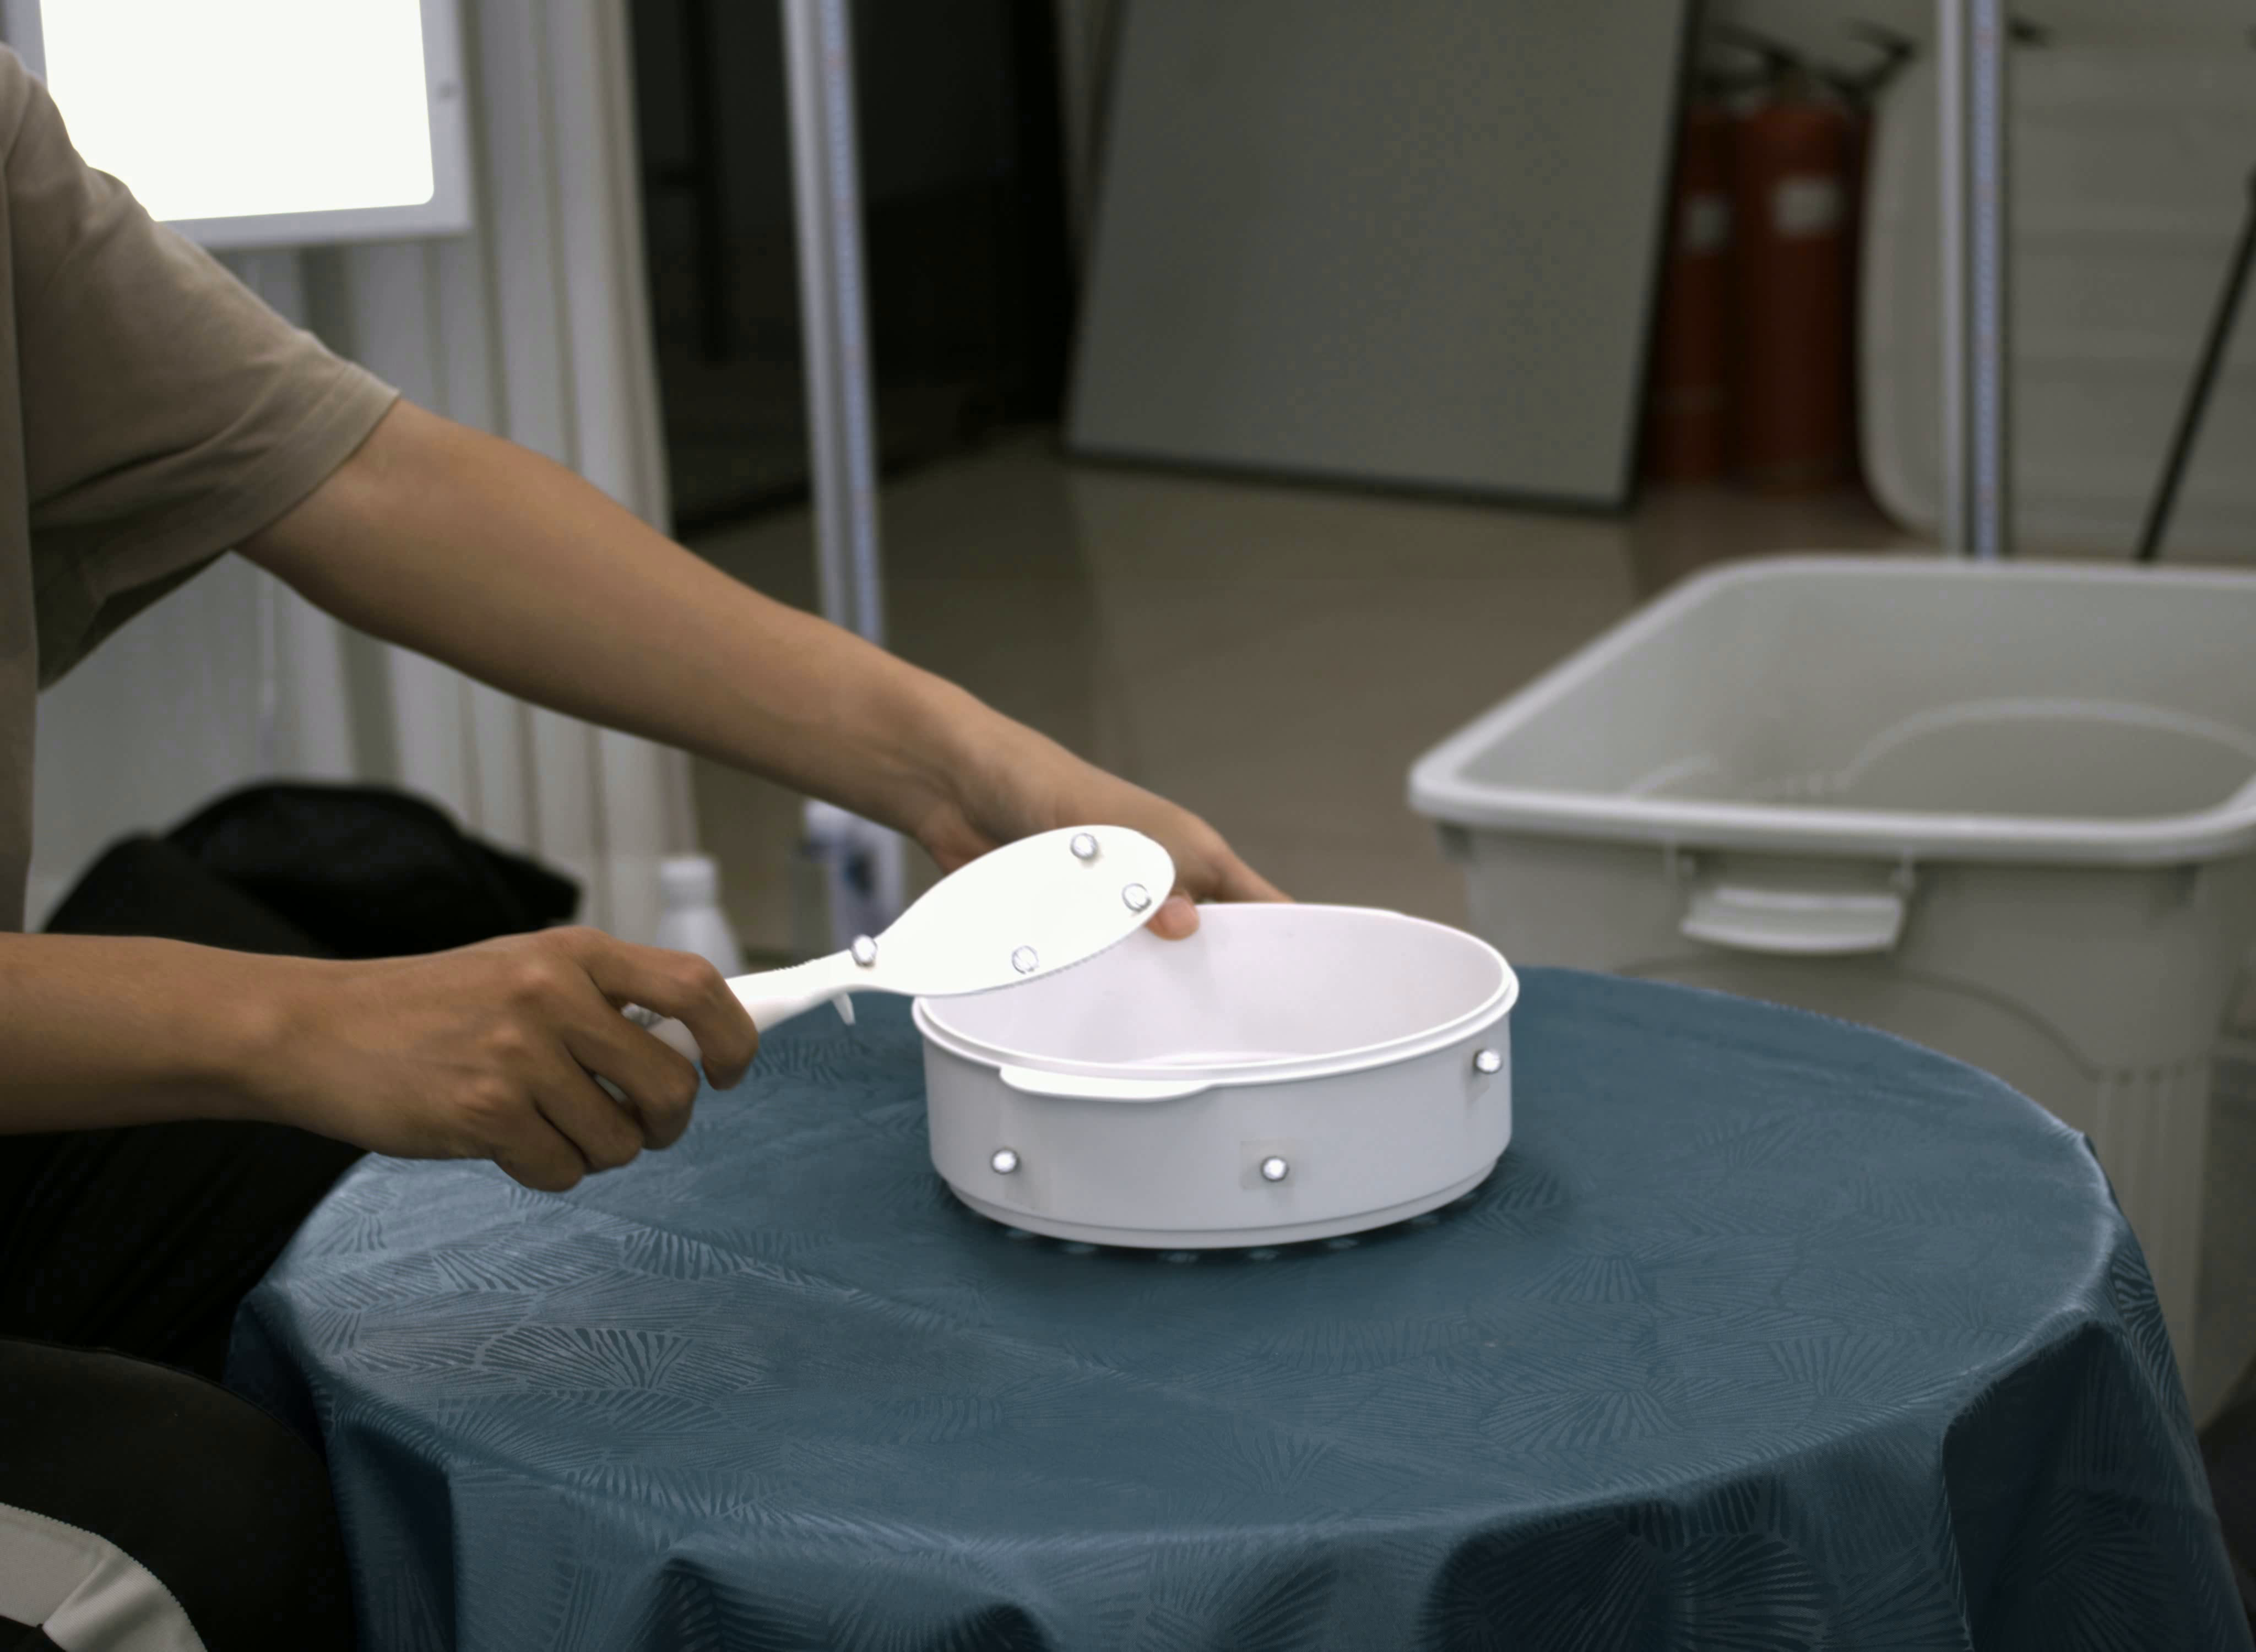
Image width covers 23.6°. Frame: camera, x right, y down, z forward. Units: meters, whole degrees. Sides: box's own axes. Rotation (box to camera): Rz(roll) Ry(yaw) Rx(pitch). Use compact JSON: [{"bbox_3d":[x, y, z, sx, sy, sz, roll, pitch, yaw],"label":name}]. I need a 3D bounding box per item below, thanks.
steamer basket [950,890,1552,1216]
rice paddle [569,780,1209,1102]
[{"bbox_3d":[0.041,0.075,1.786,0.202,0.070,0.228,3,13,24],"label":"steamer basket"},{"bbox_3d":[-0.071,0.032,1.631,0.204,0.029,0.069,-21,36,7],"label":"rice paddle"}]
